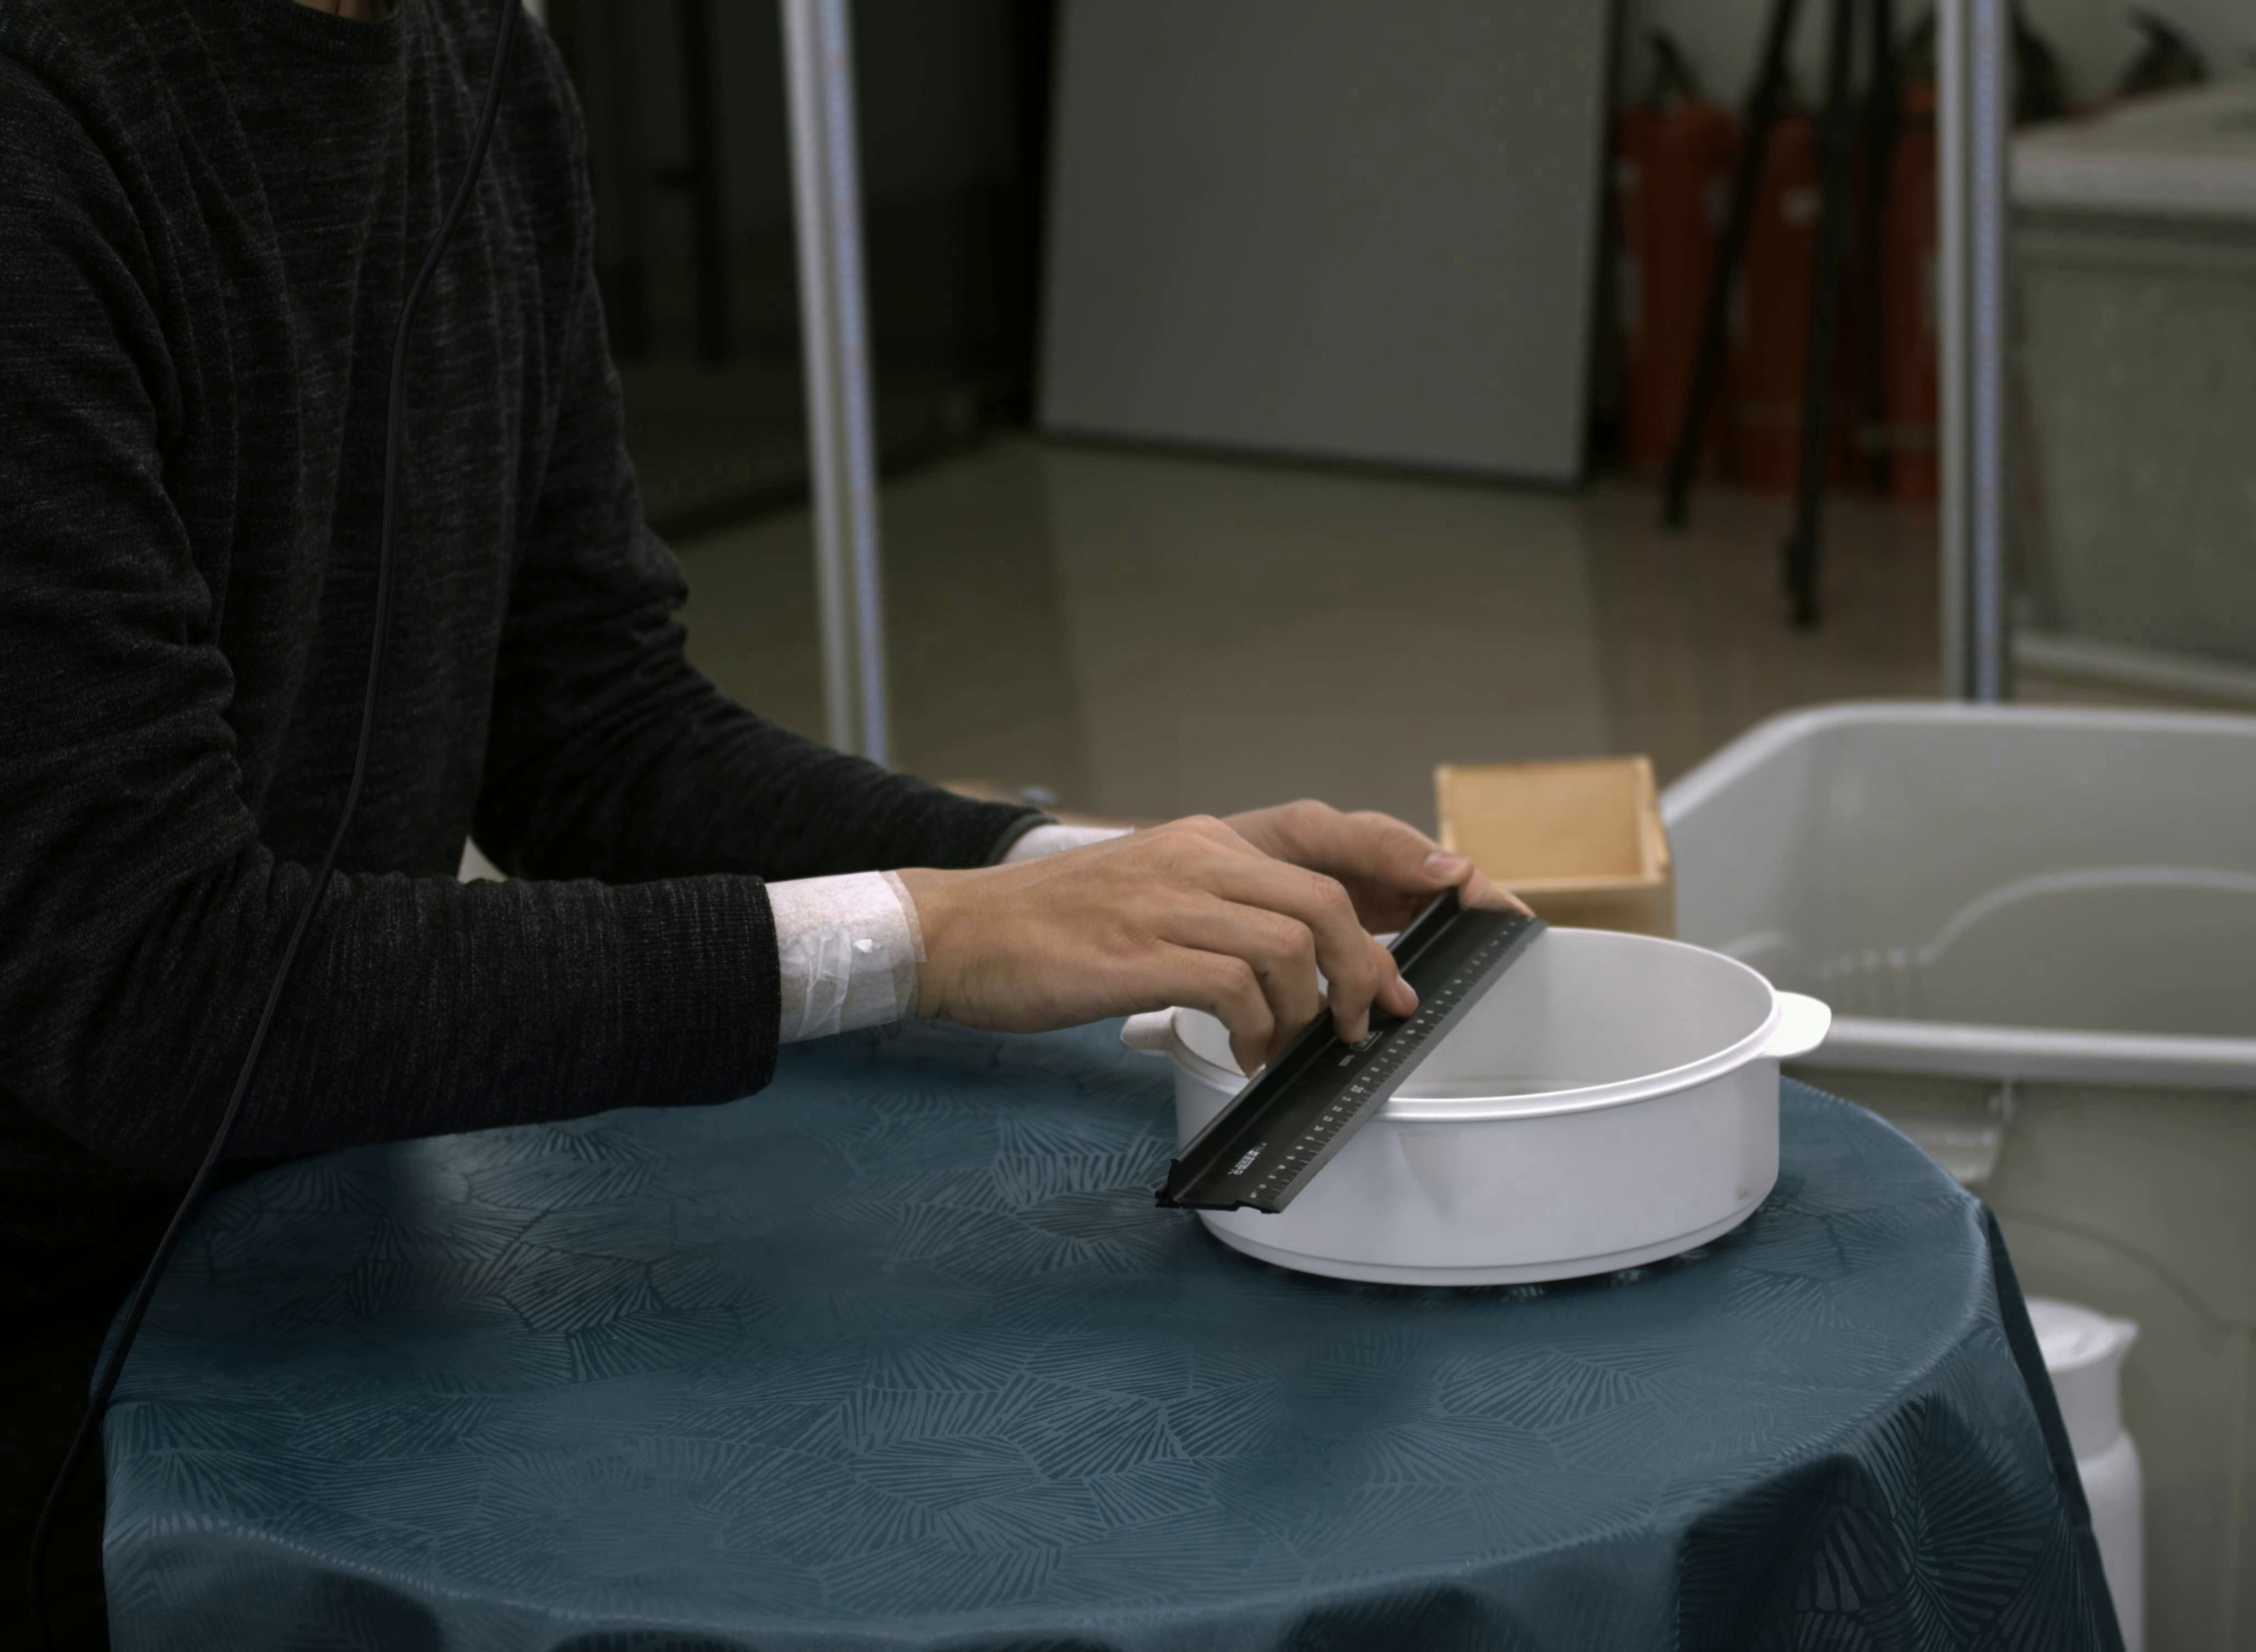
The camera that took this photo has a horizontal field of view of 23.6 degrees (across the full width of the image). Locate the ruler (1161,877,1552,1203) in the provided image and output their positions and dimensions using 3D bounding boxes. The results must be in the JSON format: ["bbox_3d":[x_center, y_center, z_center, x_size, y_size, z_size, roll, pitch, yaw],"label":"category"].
[{"bbox_3d":[0.076,0.062,1.671,0.039,0.017,0.309,5,16,19],"label":"ruler"}]

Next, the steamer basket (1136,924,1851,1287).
[{"bbox_3d":[0.117,0.088,1.722,0.229,0.070,0.200,1,14,13],"label":"steamer basket"}]
